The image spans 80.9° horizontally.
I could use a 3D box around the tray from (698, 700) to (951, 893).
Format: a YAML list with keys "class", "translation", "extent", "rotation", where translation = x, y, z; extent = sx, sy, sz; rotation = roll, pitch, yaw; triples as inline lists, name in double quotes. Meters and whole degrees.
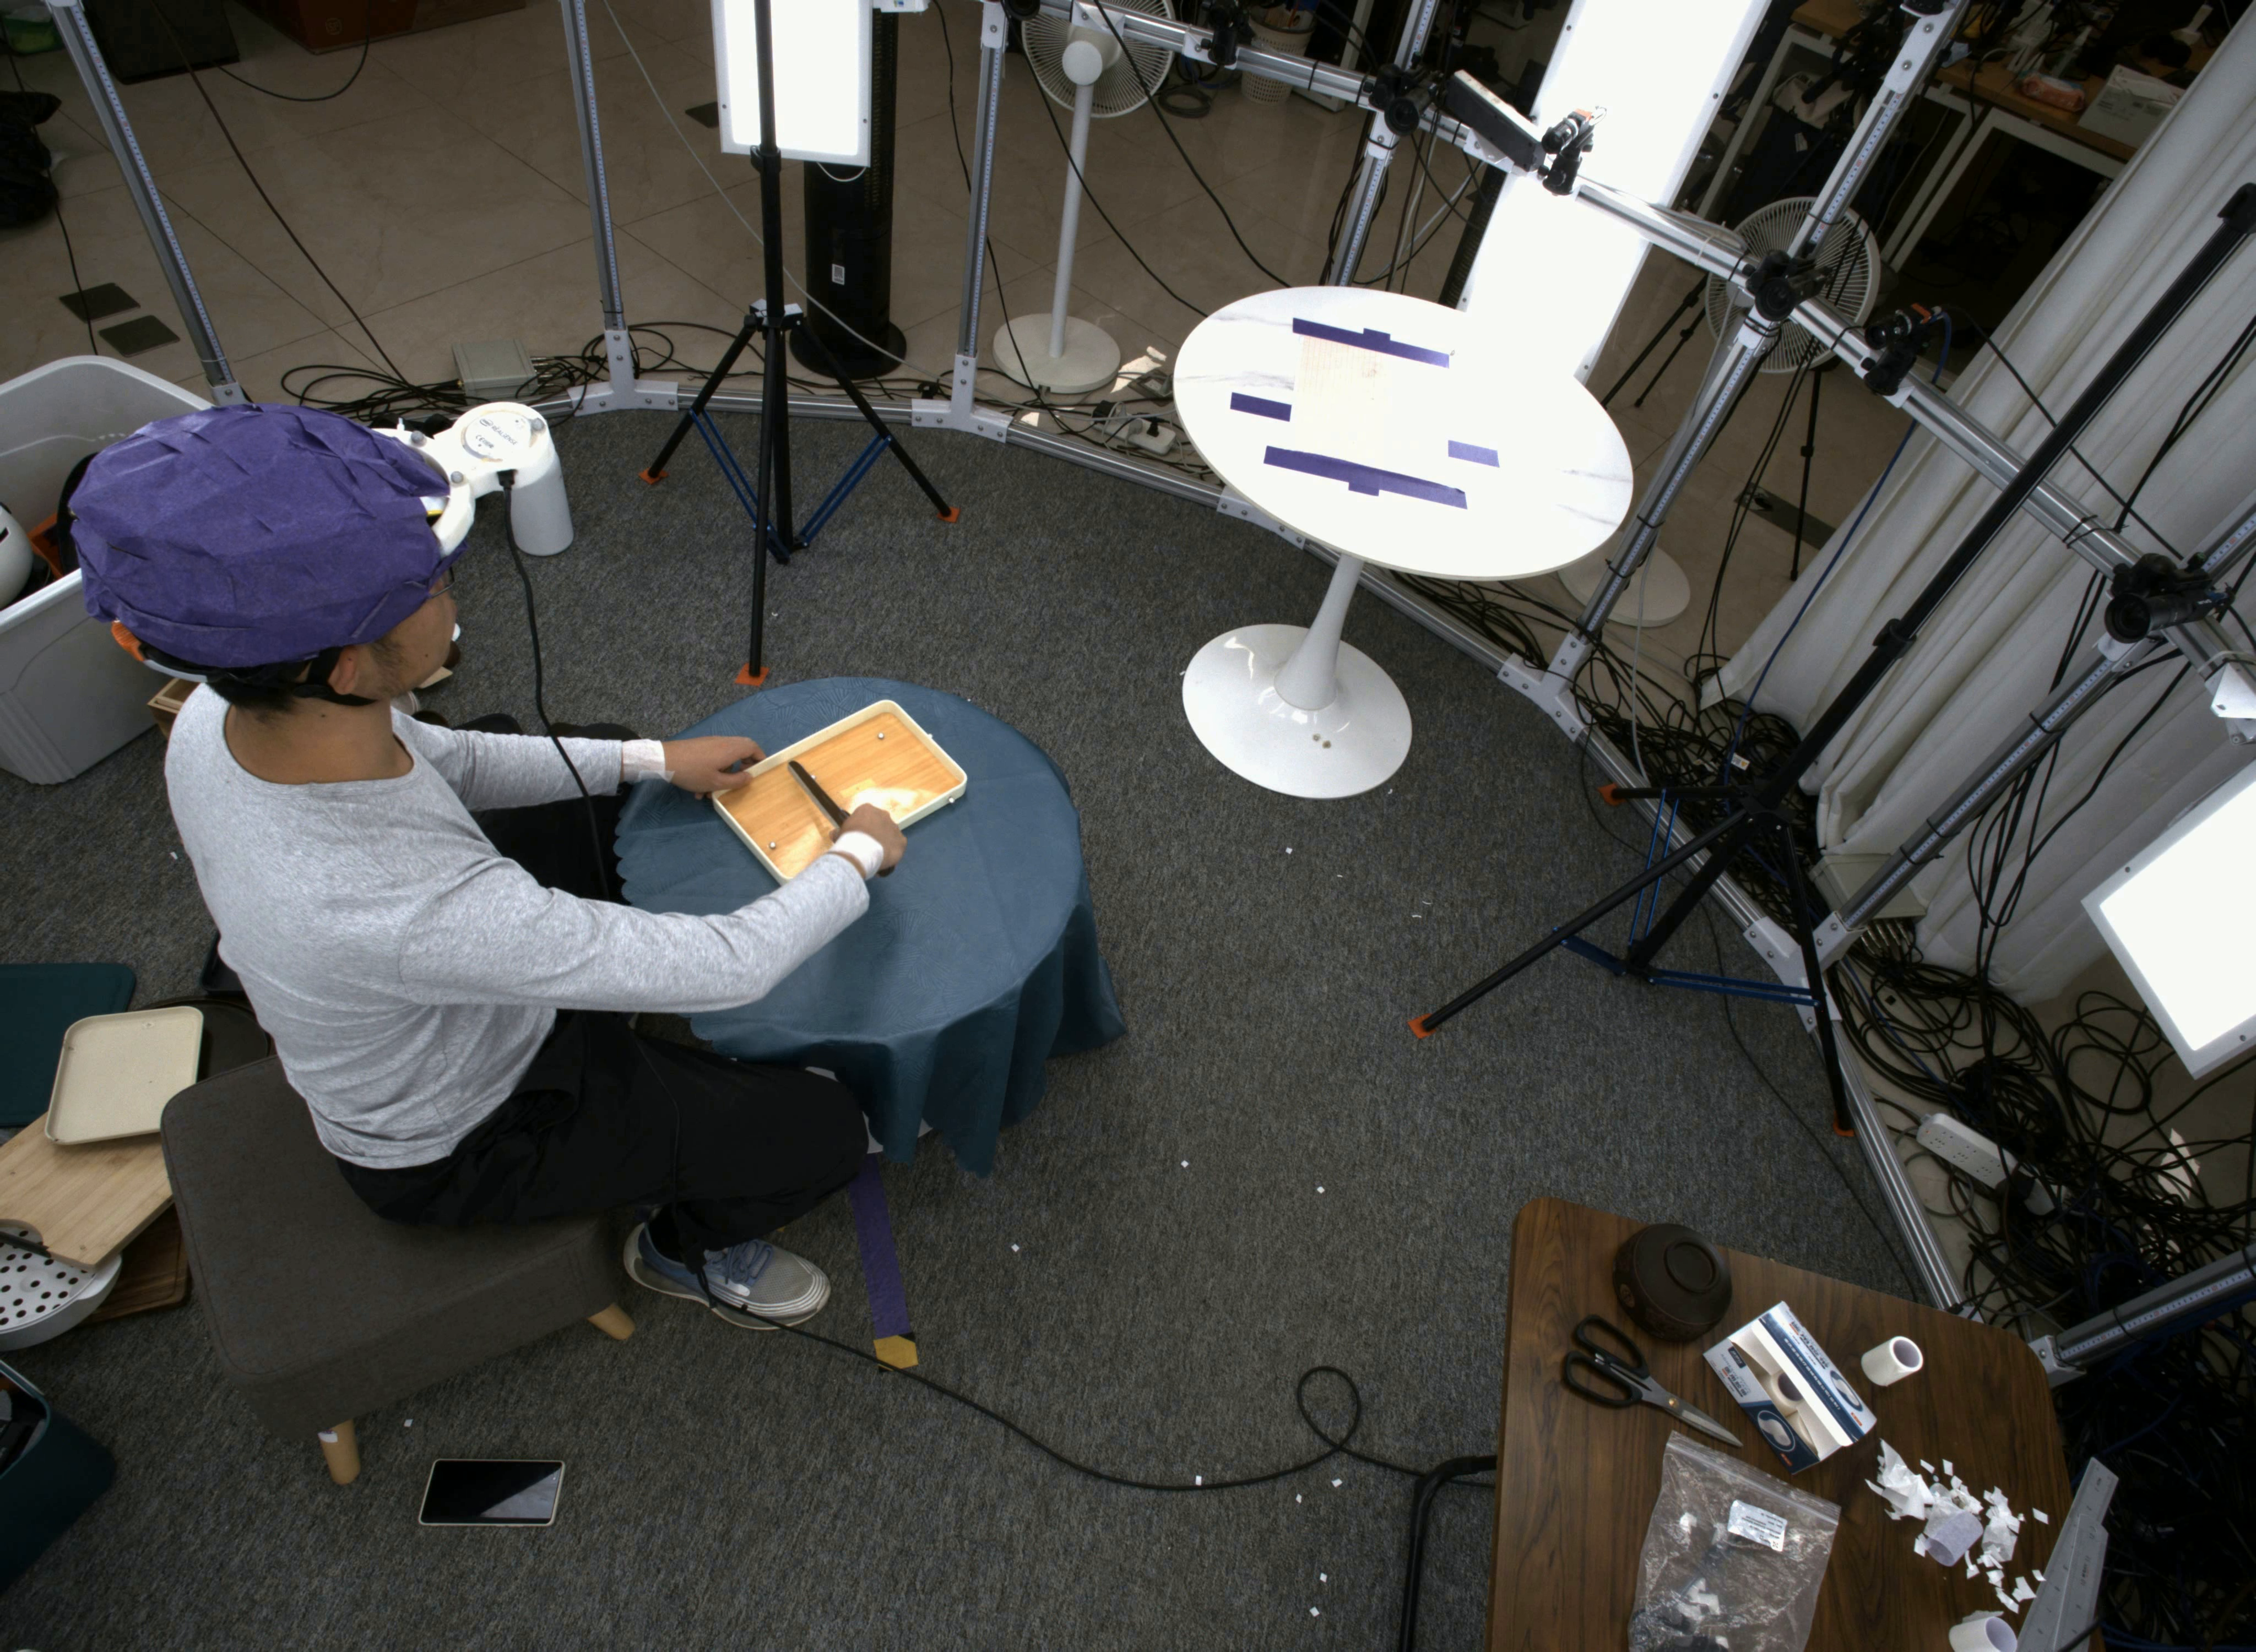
- class: "tray"
  translation: [-0.408, -0.047, 1.757]
  extent: [0.301, 0.028, 0.187]
  rotation: [-34, 68, -32]

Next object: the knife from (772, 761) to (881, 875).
- class: "knife"
  translation: [-0.399, -0.015, 1.682]
  extent: [0.020, 0.052, 0.278]
  rotation: [-23, 44, -33]
